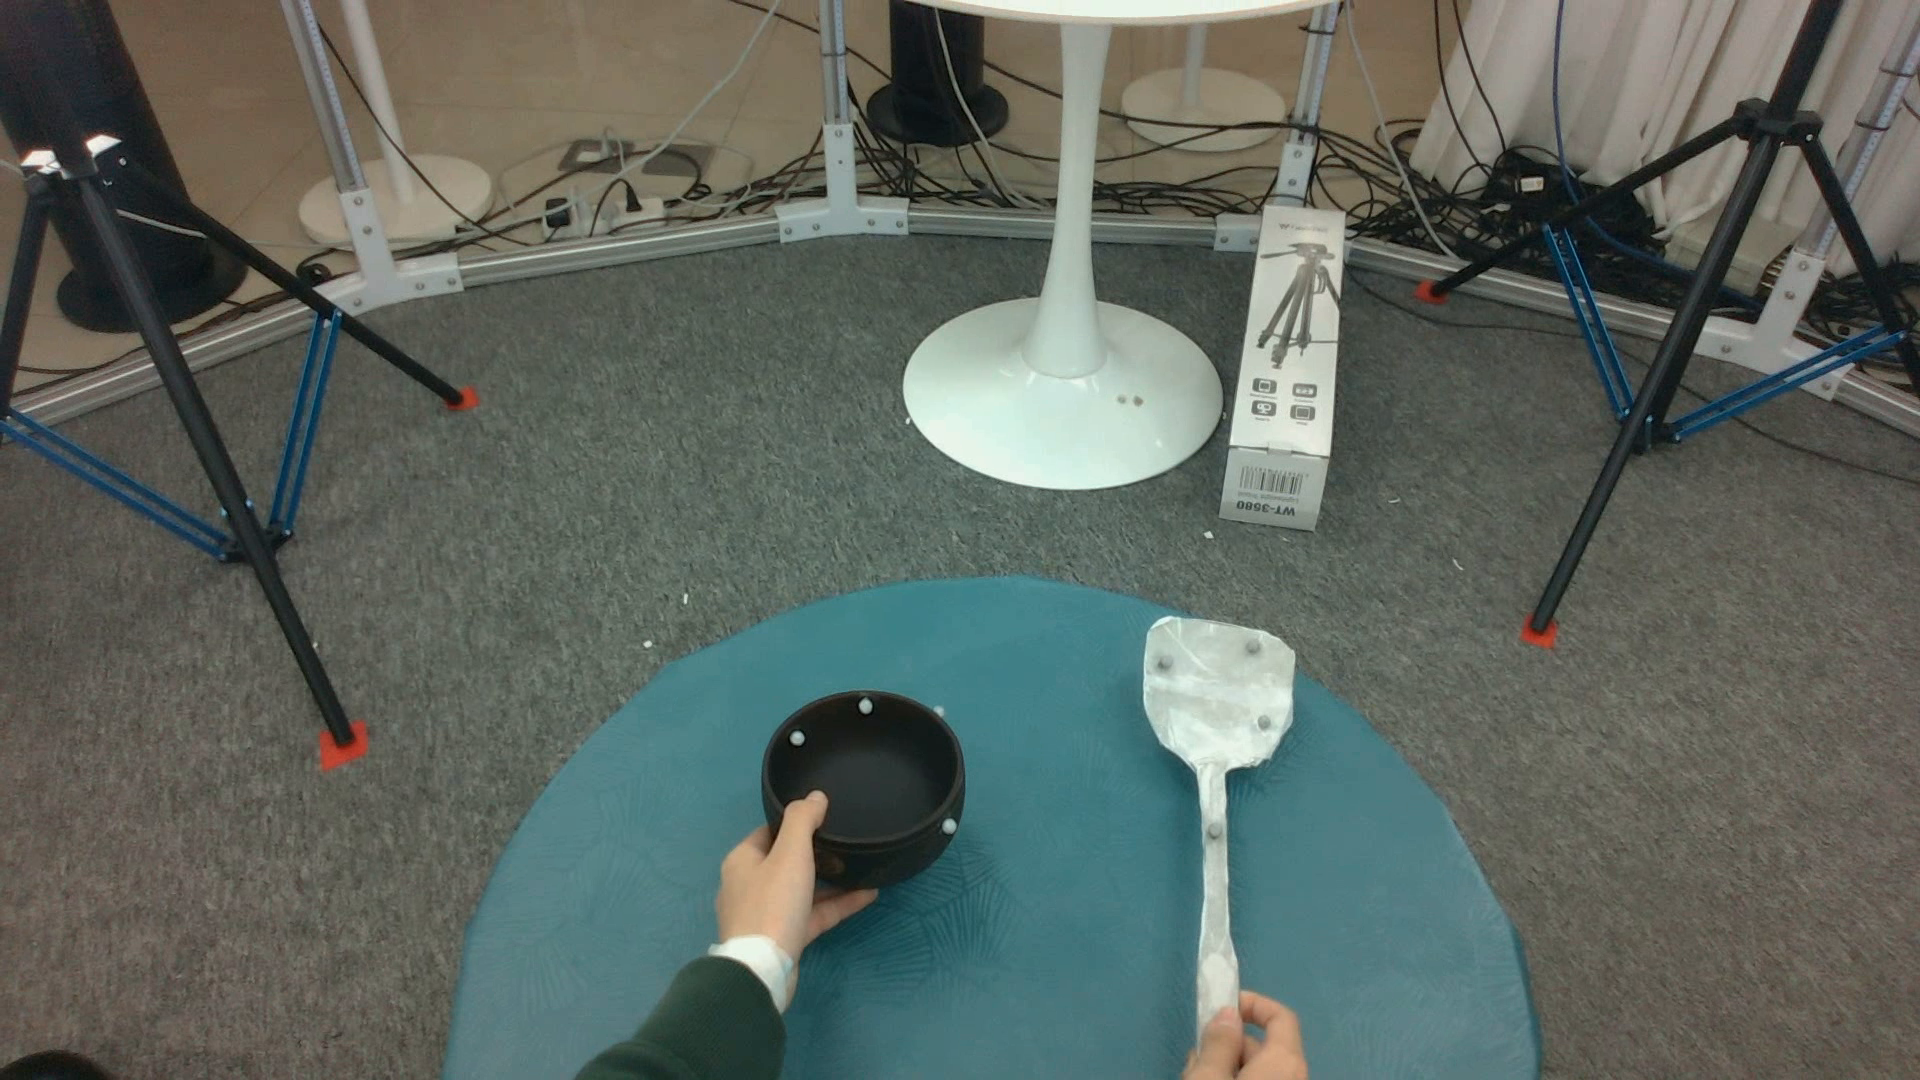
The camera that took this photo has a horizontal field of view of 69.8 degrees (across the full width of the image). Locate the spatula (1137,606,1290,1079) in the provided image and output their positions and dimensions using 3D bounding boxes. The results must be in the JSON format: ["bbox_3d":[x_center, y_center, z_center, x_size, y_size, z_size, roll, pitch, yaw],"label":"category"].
[{"bbox_3d":[0.140,0.177,0.778,0.099,0.044,0.367,12,40,1],"label":"spatula"}]

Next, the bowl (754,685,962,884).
[{"bbox_3d":[-0.057,0.148,0.793,0.118,0.069,0.118,0,39,0],"label":"bowl"}]
